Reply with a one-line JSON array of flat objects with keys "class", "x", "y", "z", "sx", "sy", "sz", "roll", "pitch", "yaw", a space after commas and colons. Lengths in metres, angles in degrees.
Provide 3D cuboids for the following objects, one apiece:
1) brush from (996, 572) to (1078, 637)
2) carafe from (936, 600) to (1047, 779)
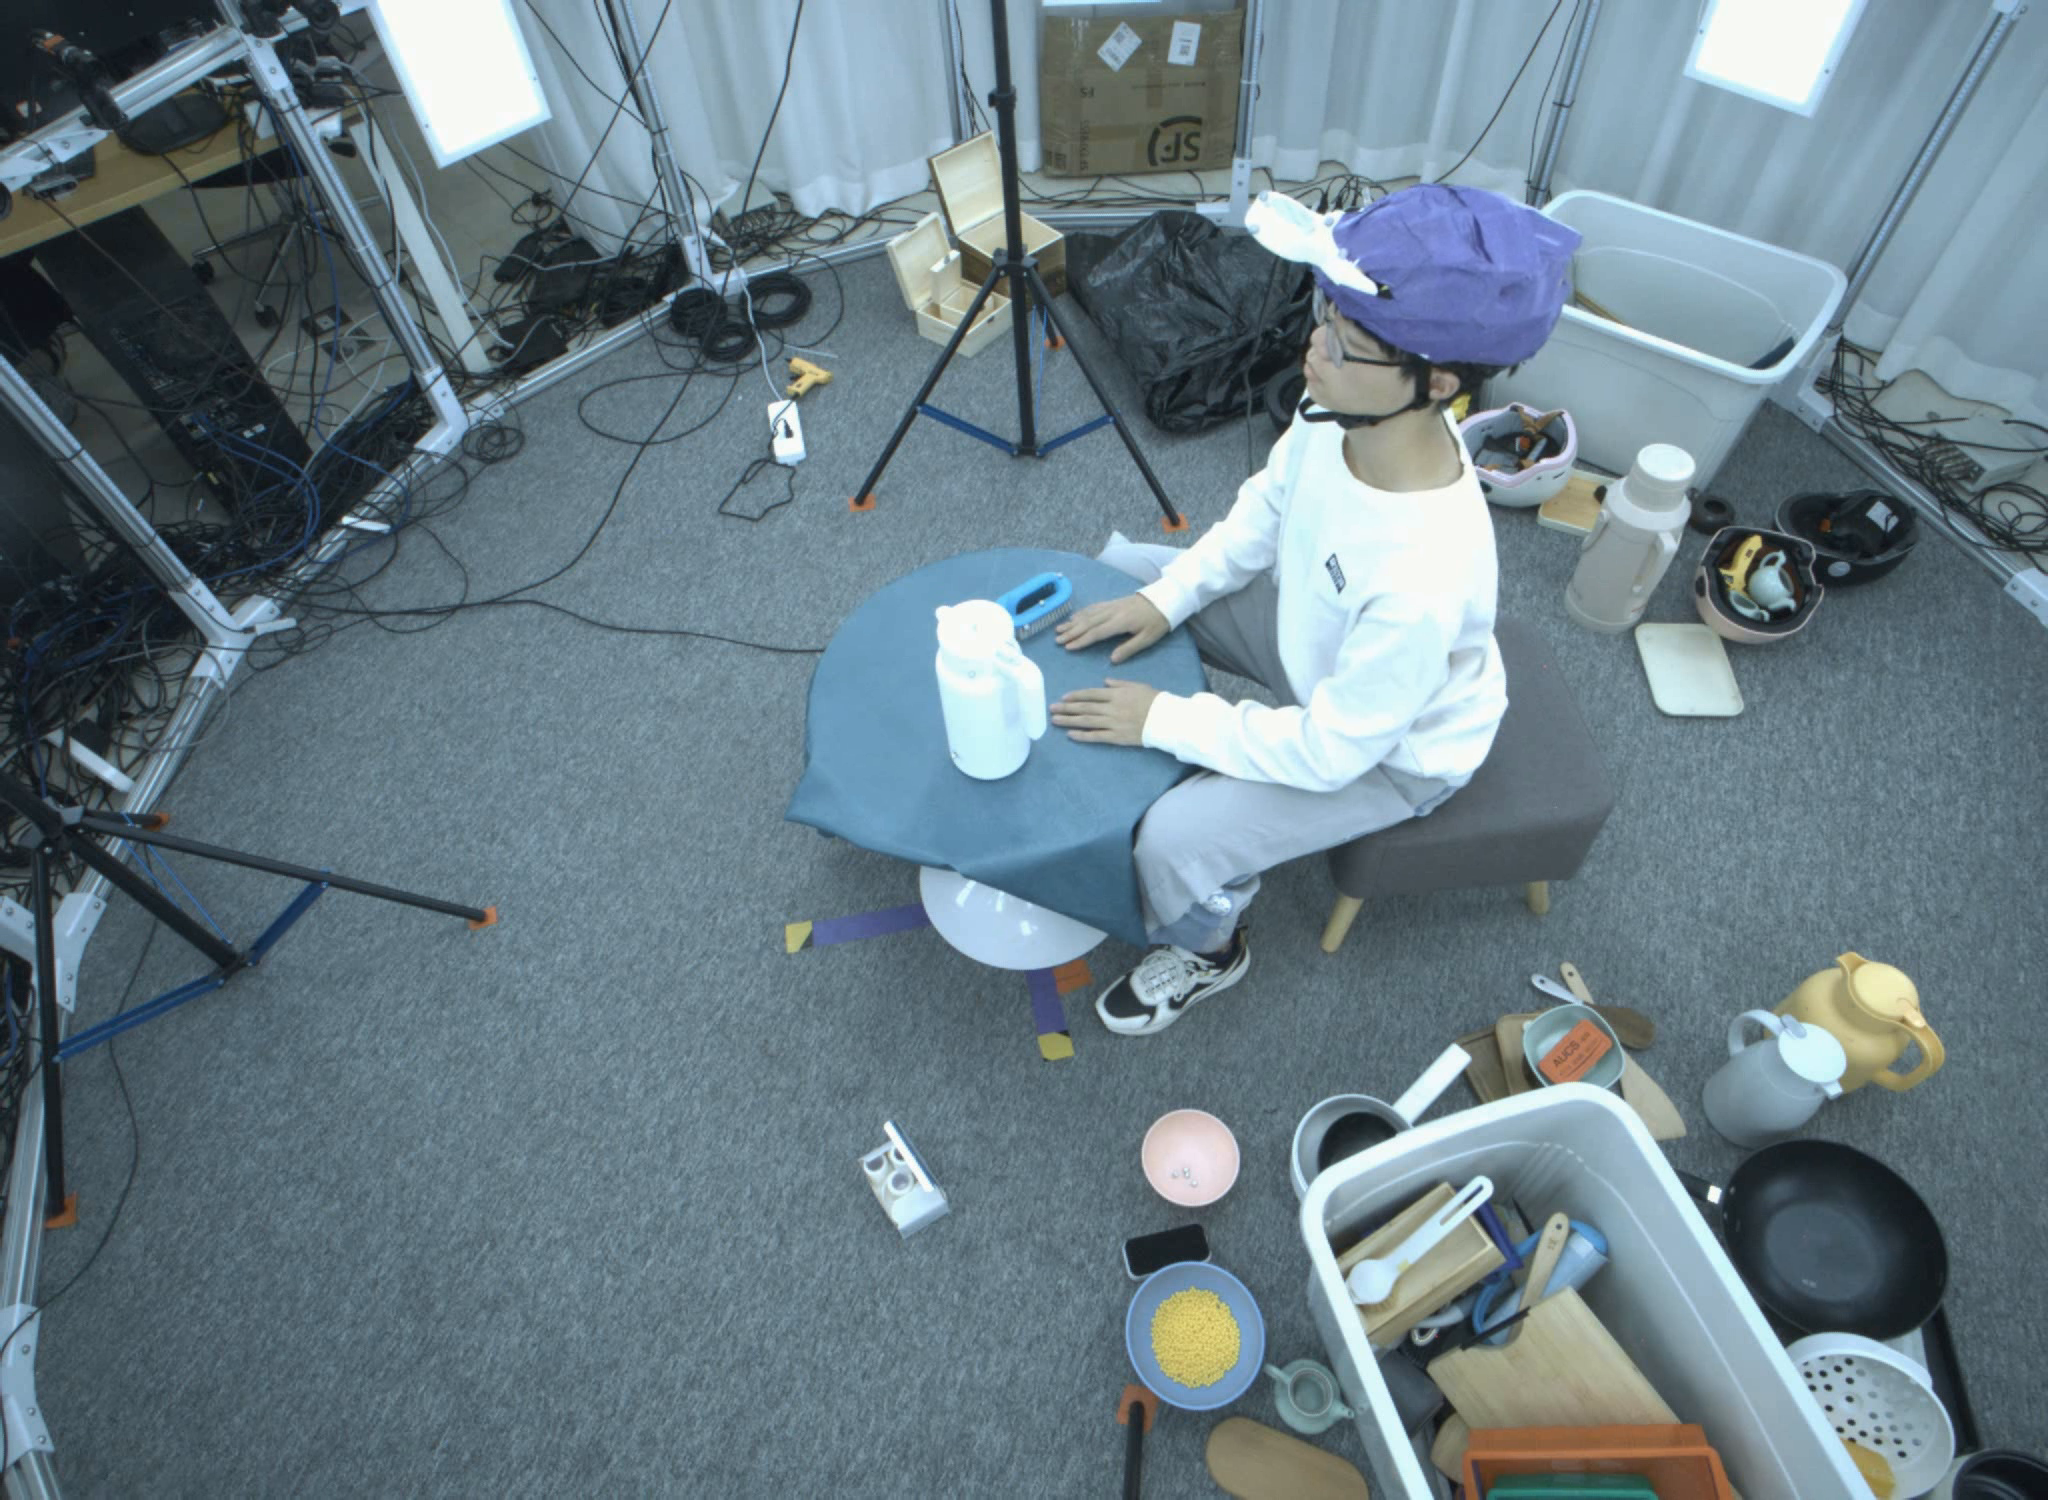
[{"class": "brush", "x": 0.016, "y": -0.238, "z": 1.914, "sx": 0.143, "sy": 0.064, "sz": 0.082, "roll": -31, "pitch": 53, "yaw": -19}, {"class": "carafe", "x": -0.041, "y": -0.071, "z": 1.672, "sx": 0.170, "sy": 0.271, "sz": 0.124, "roll": 33, "pitch": 61, "yaw": 24}]
